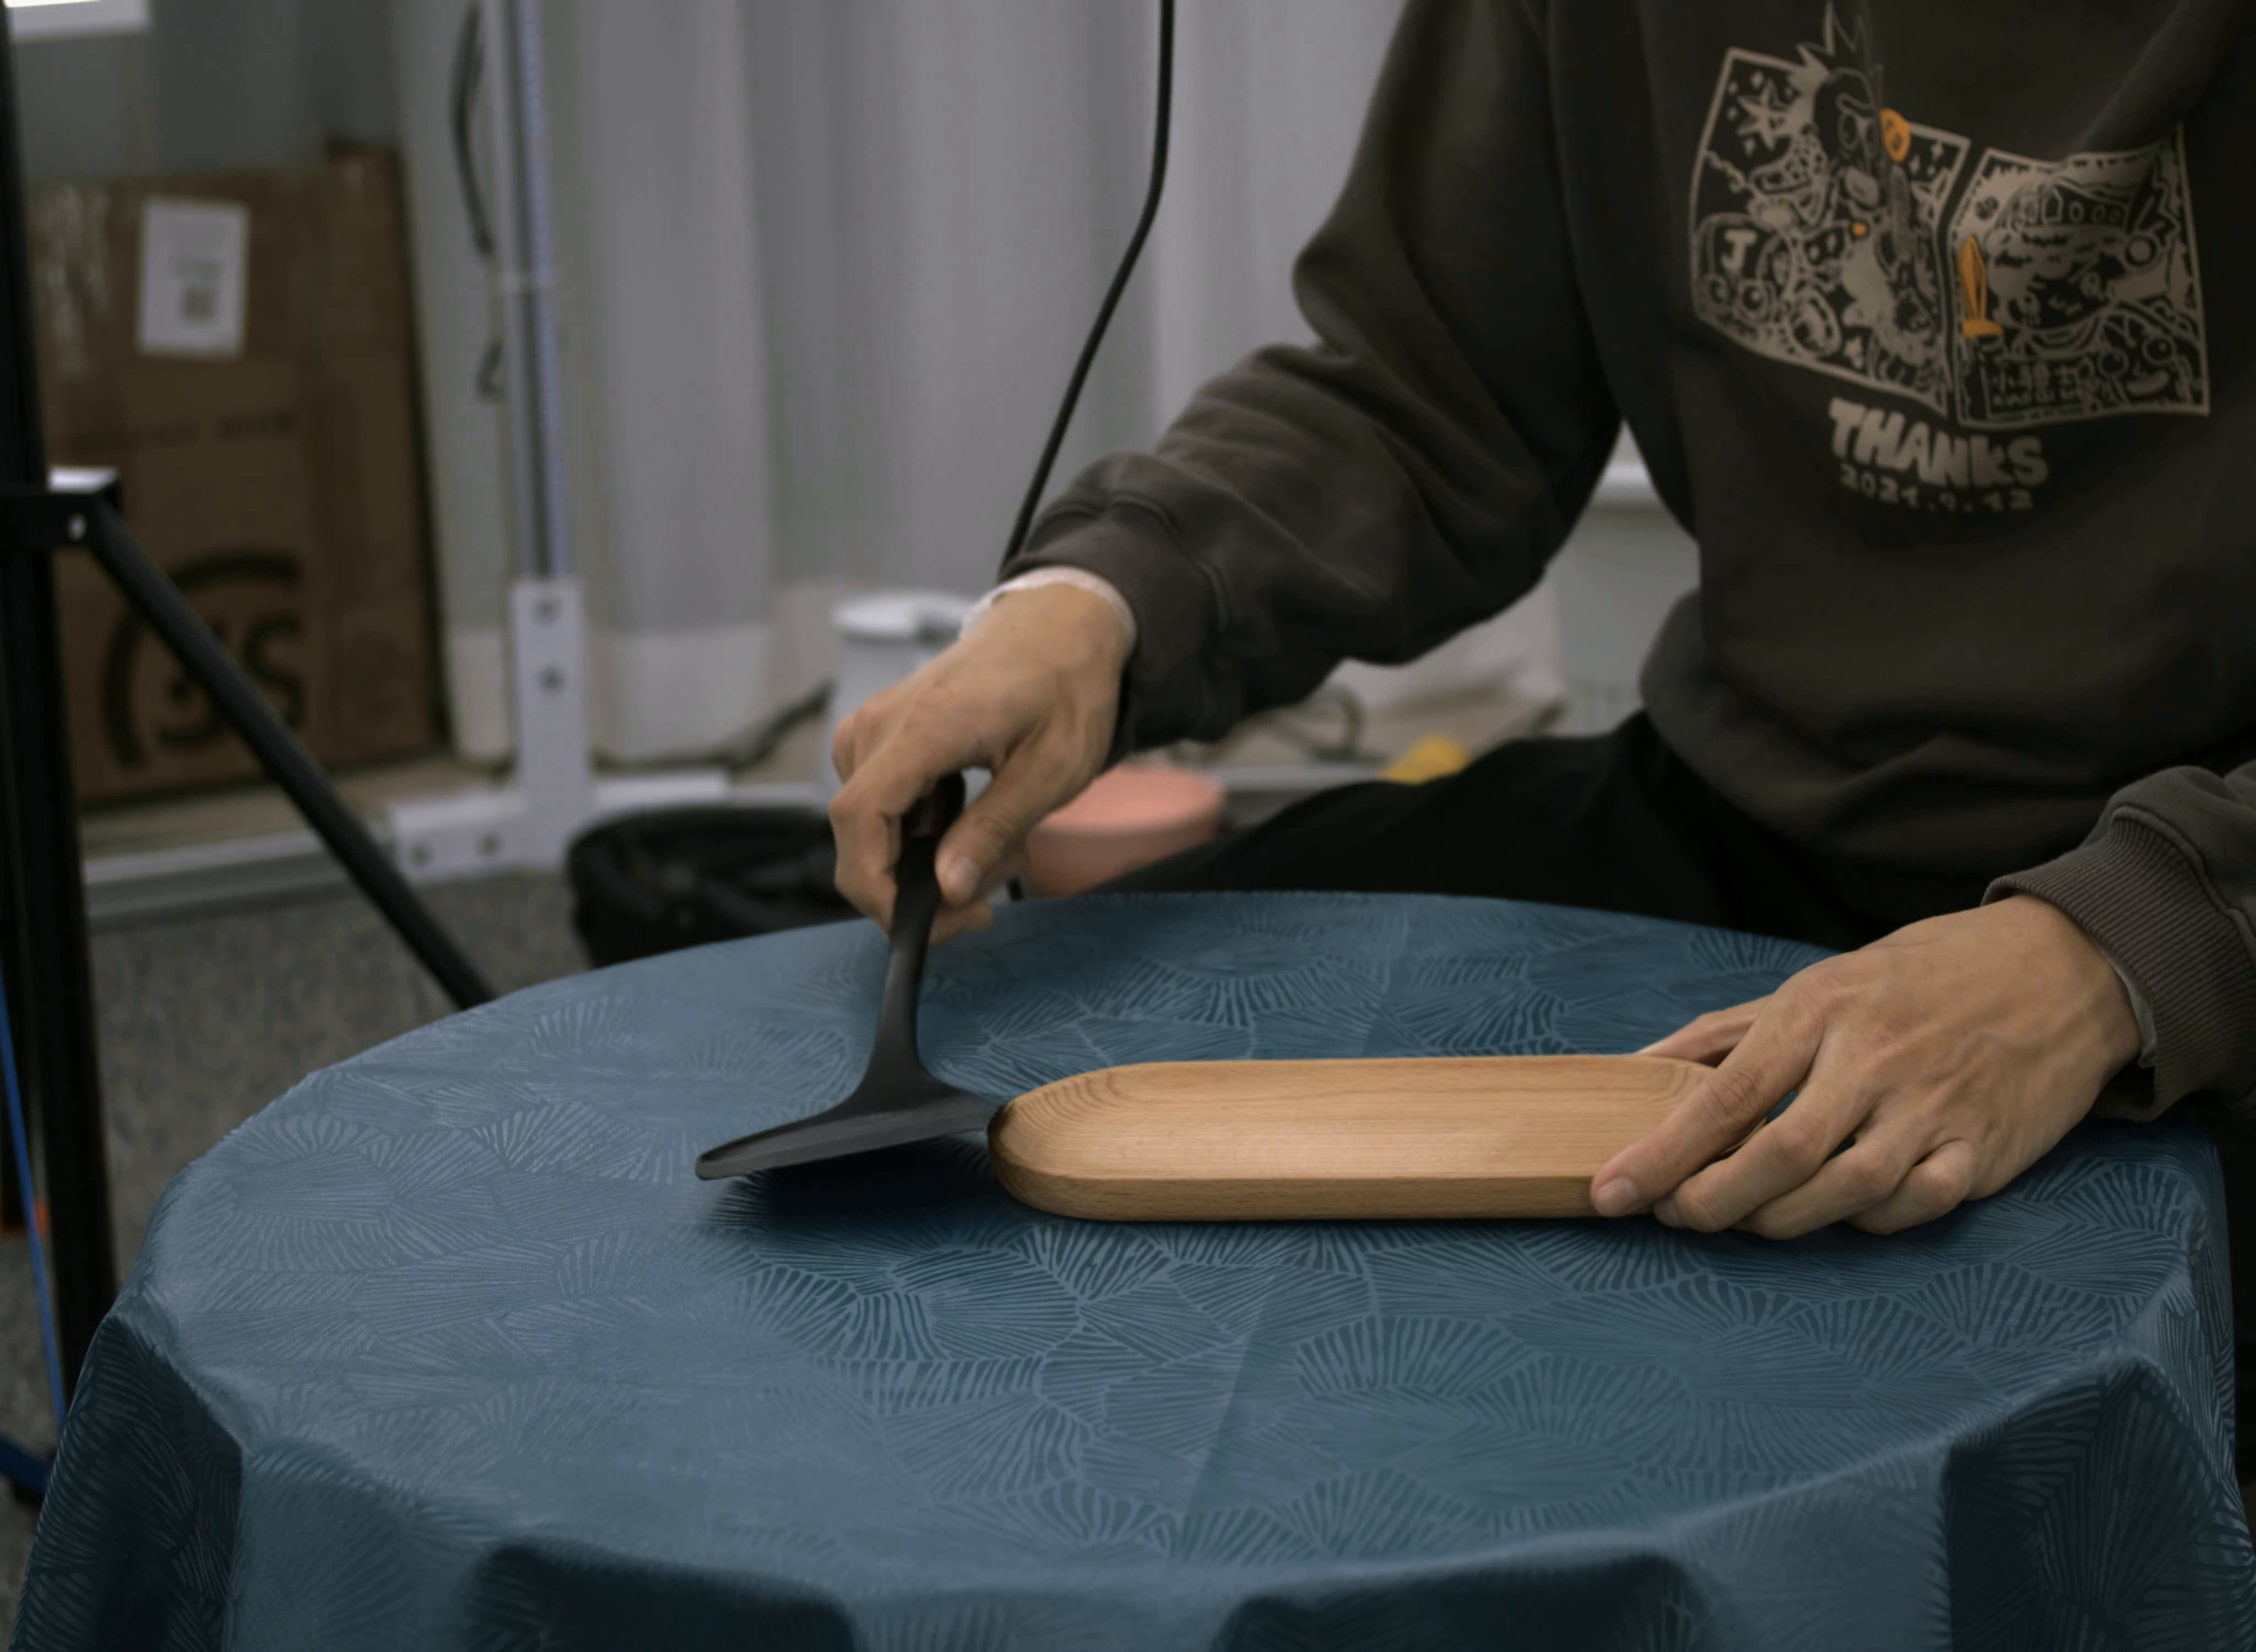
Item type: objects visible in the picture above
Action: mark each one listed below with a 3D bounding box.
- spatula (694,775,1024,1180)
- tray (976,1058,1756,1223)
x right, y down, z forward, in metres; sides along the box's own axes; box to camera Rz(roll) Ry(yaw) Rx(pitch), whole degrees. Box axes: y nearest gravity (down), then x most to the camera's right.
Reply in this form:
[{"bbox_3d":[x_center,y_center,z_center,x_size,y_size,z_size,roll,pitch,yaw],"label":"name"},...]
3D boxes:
[{"bbox_3d":[-0.073,0.042,1.690,0.100,0.040,0.328,-11,25,7],"label":"spatula"},{"bbox_3d":[0.070,0.094,1.565,0.232,0.020,0.101,-2,16,11],"label":"tray"}]
